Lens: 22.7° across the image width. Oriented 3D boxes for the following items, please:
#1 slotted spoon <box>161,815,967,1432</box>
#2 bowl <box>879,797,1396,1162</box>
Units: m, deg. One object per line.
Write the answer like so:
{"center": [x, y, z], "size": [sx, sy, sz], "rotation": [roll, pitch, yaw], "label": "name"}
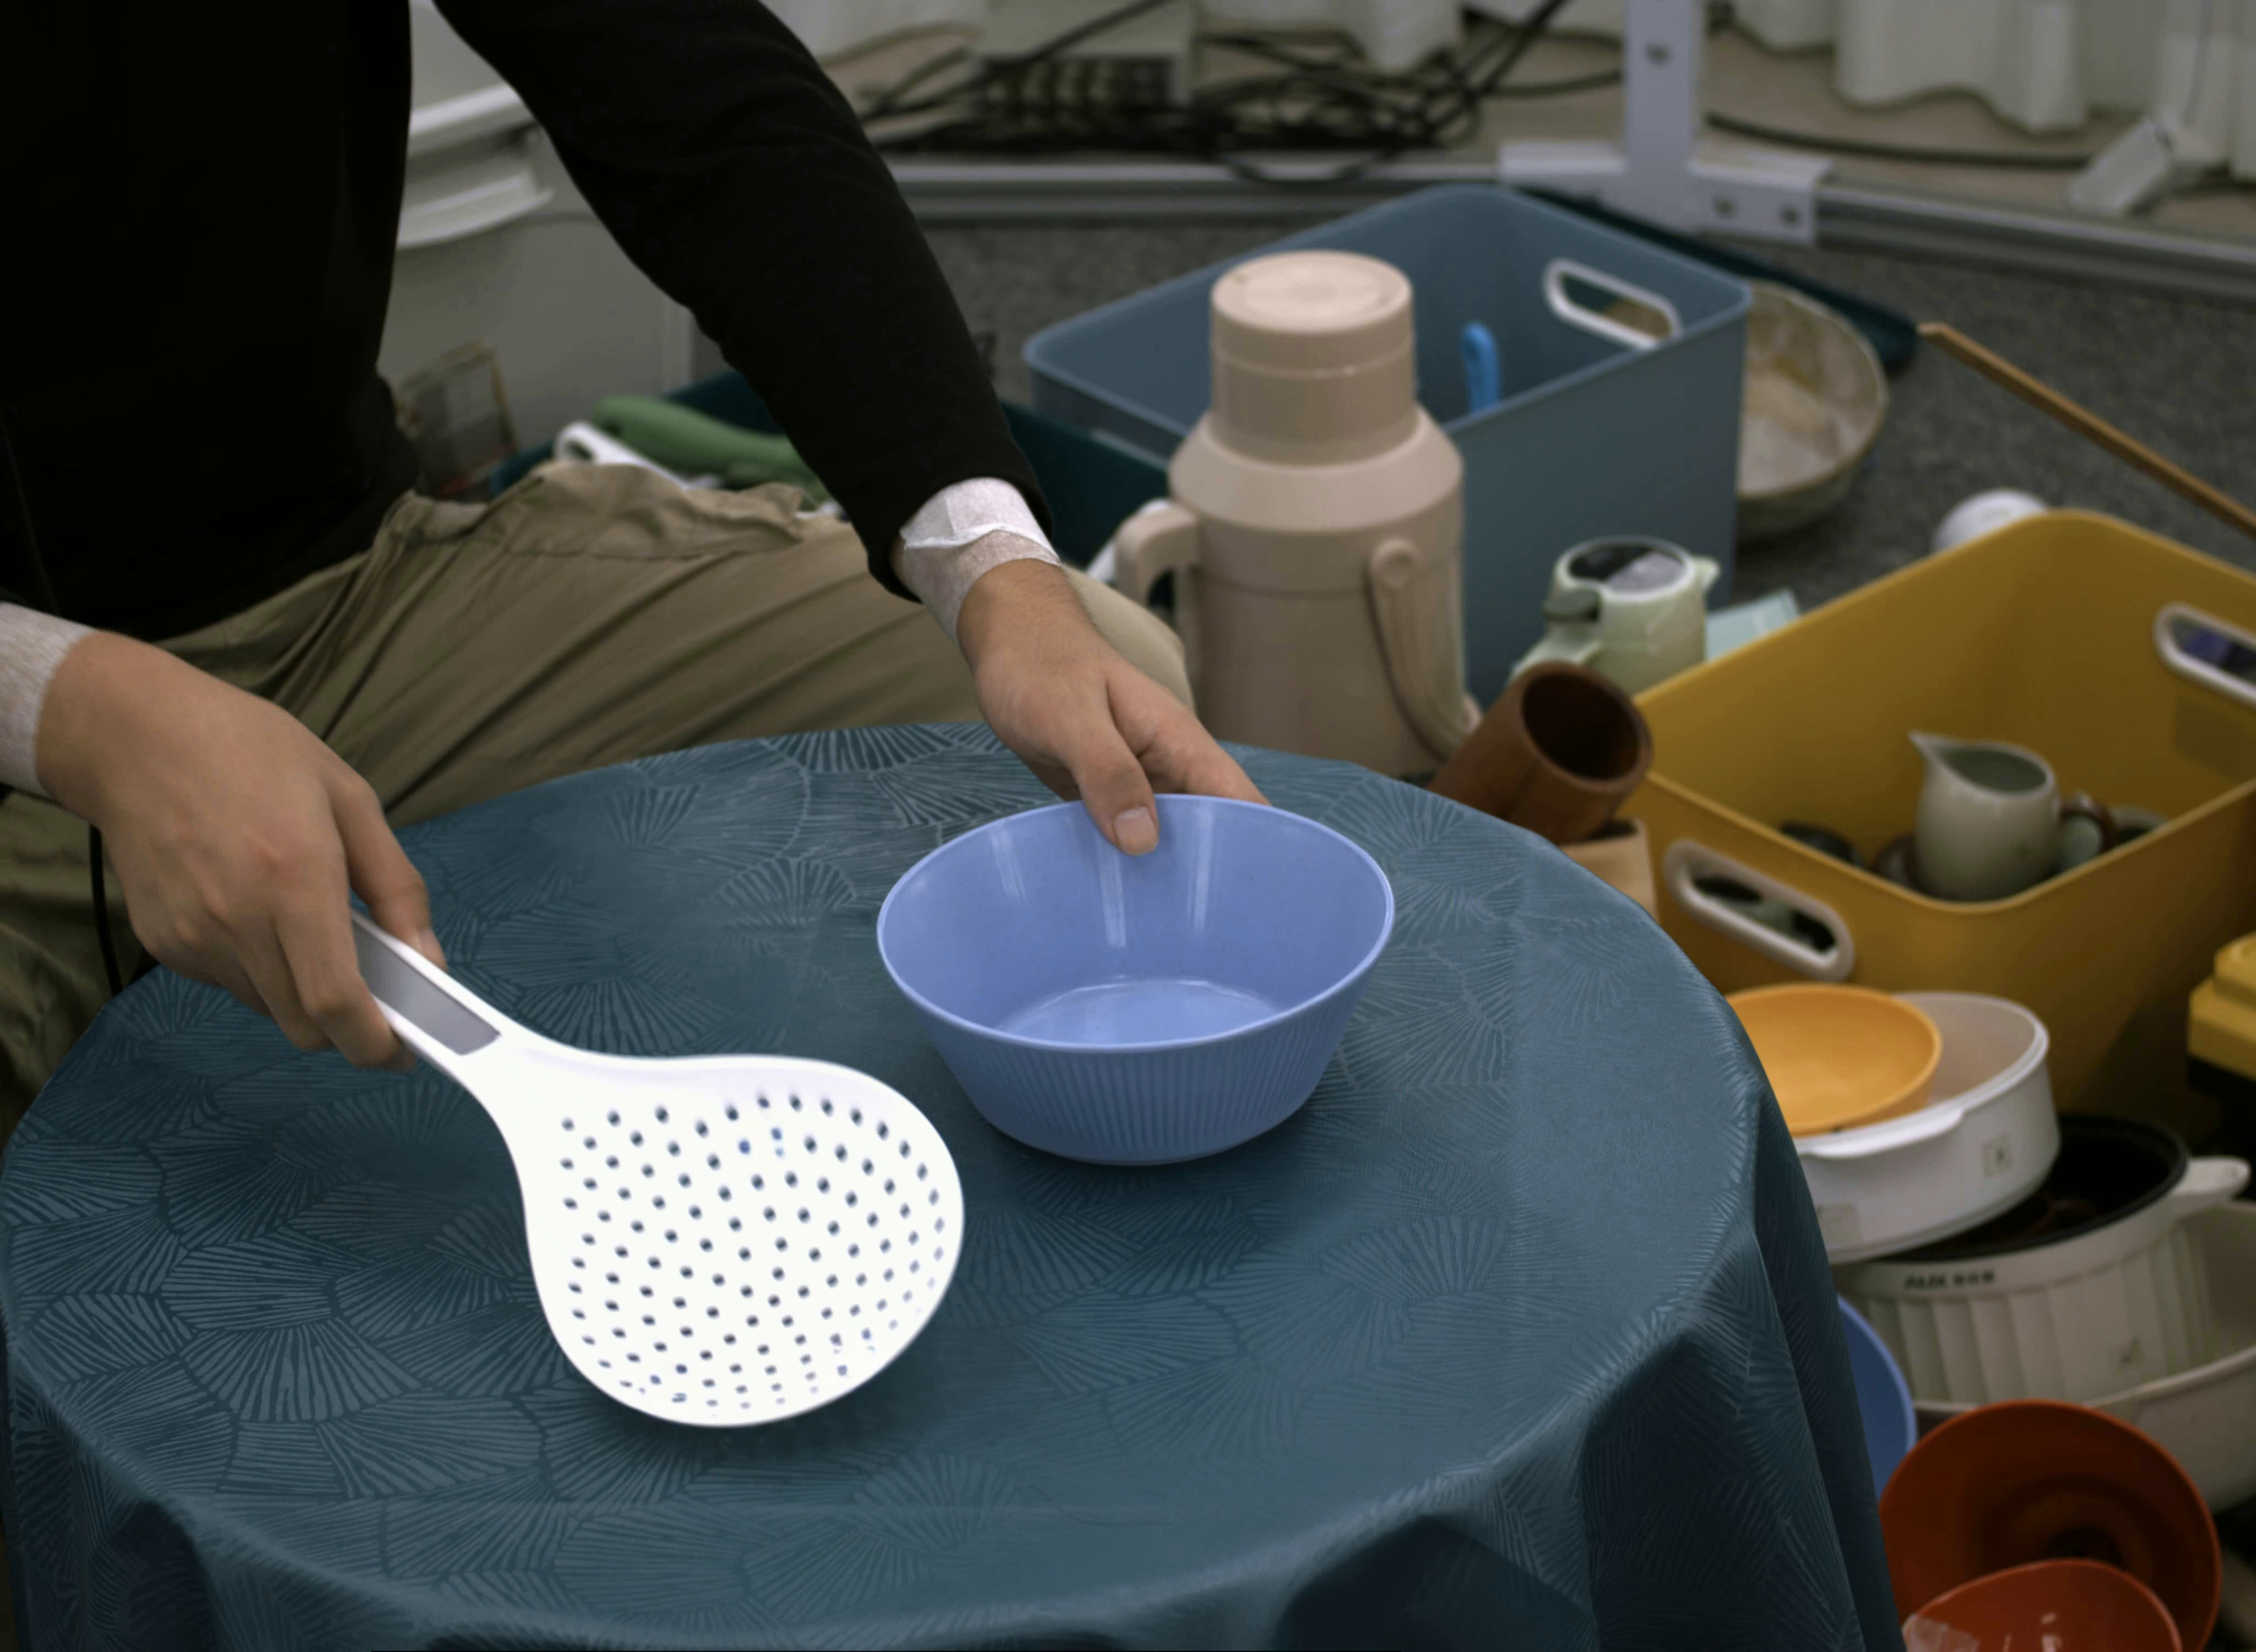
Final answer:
{"center": [-0.194, 0.087, 1.820], "size": [0.350, 0.045, 0.138], "rotation": [34, 64, 27], "label": "slotted spoon"}
{"center": [0.004, 0.058, 1.908], "size": [0.175, 0.069, 0.178], "rotation": [-2, 26, 1], "label": "bowl"}
